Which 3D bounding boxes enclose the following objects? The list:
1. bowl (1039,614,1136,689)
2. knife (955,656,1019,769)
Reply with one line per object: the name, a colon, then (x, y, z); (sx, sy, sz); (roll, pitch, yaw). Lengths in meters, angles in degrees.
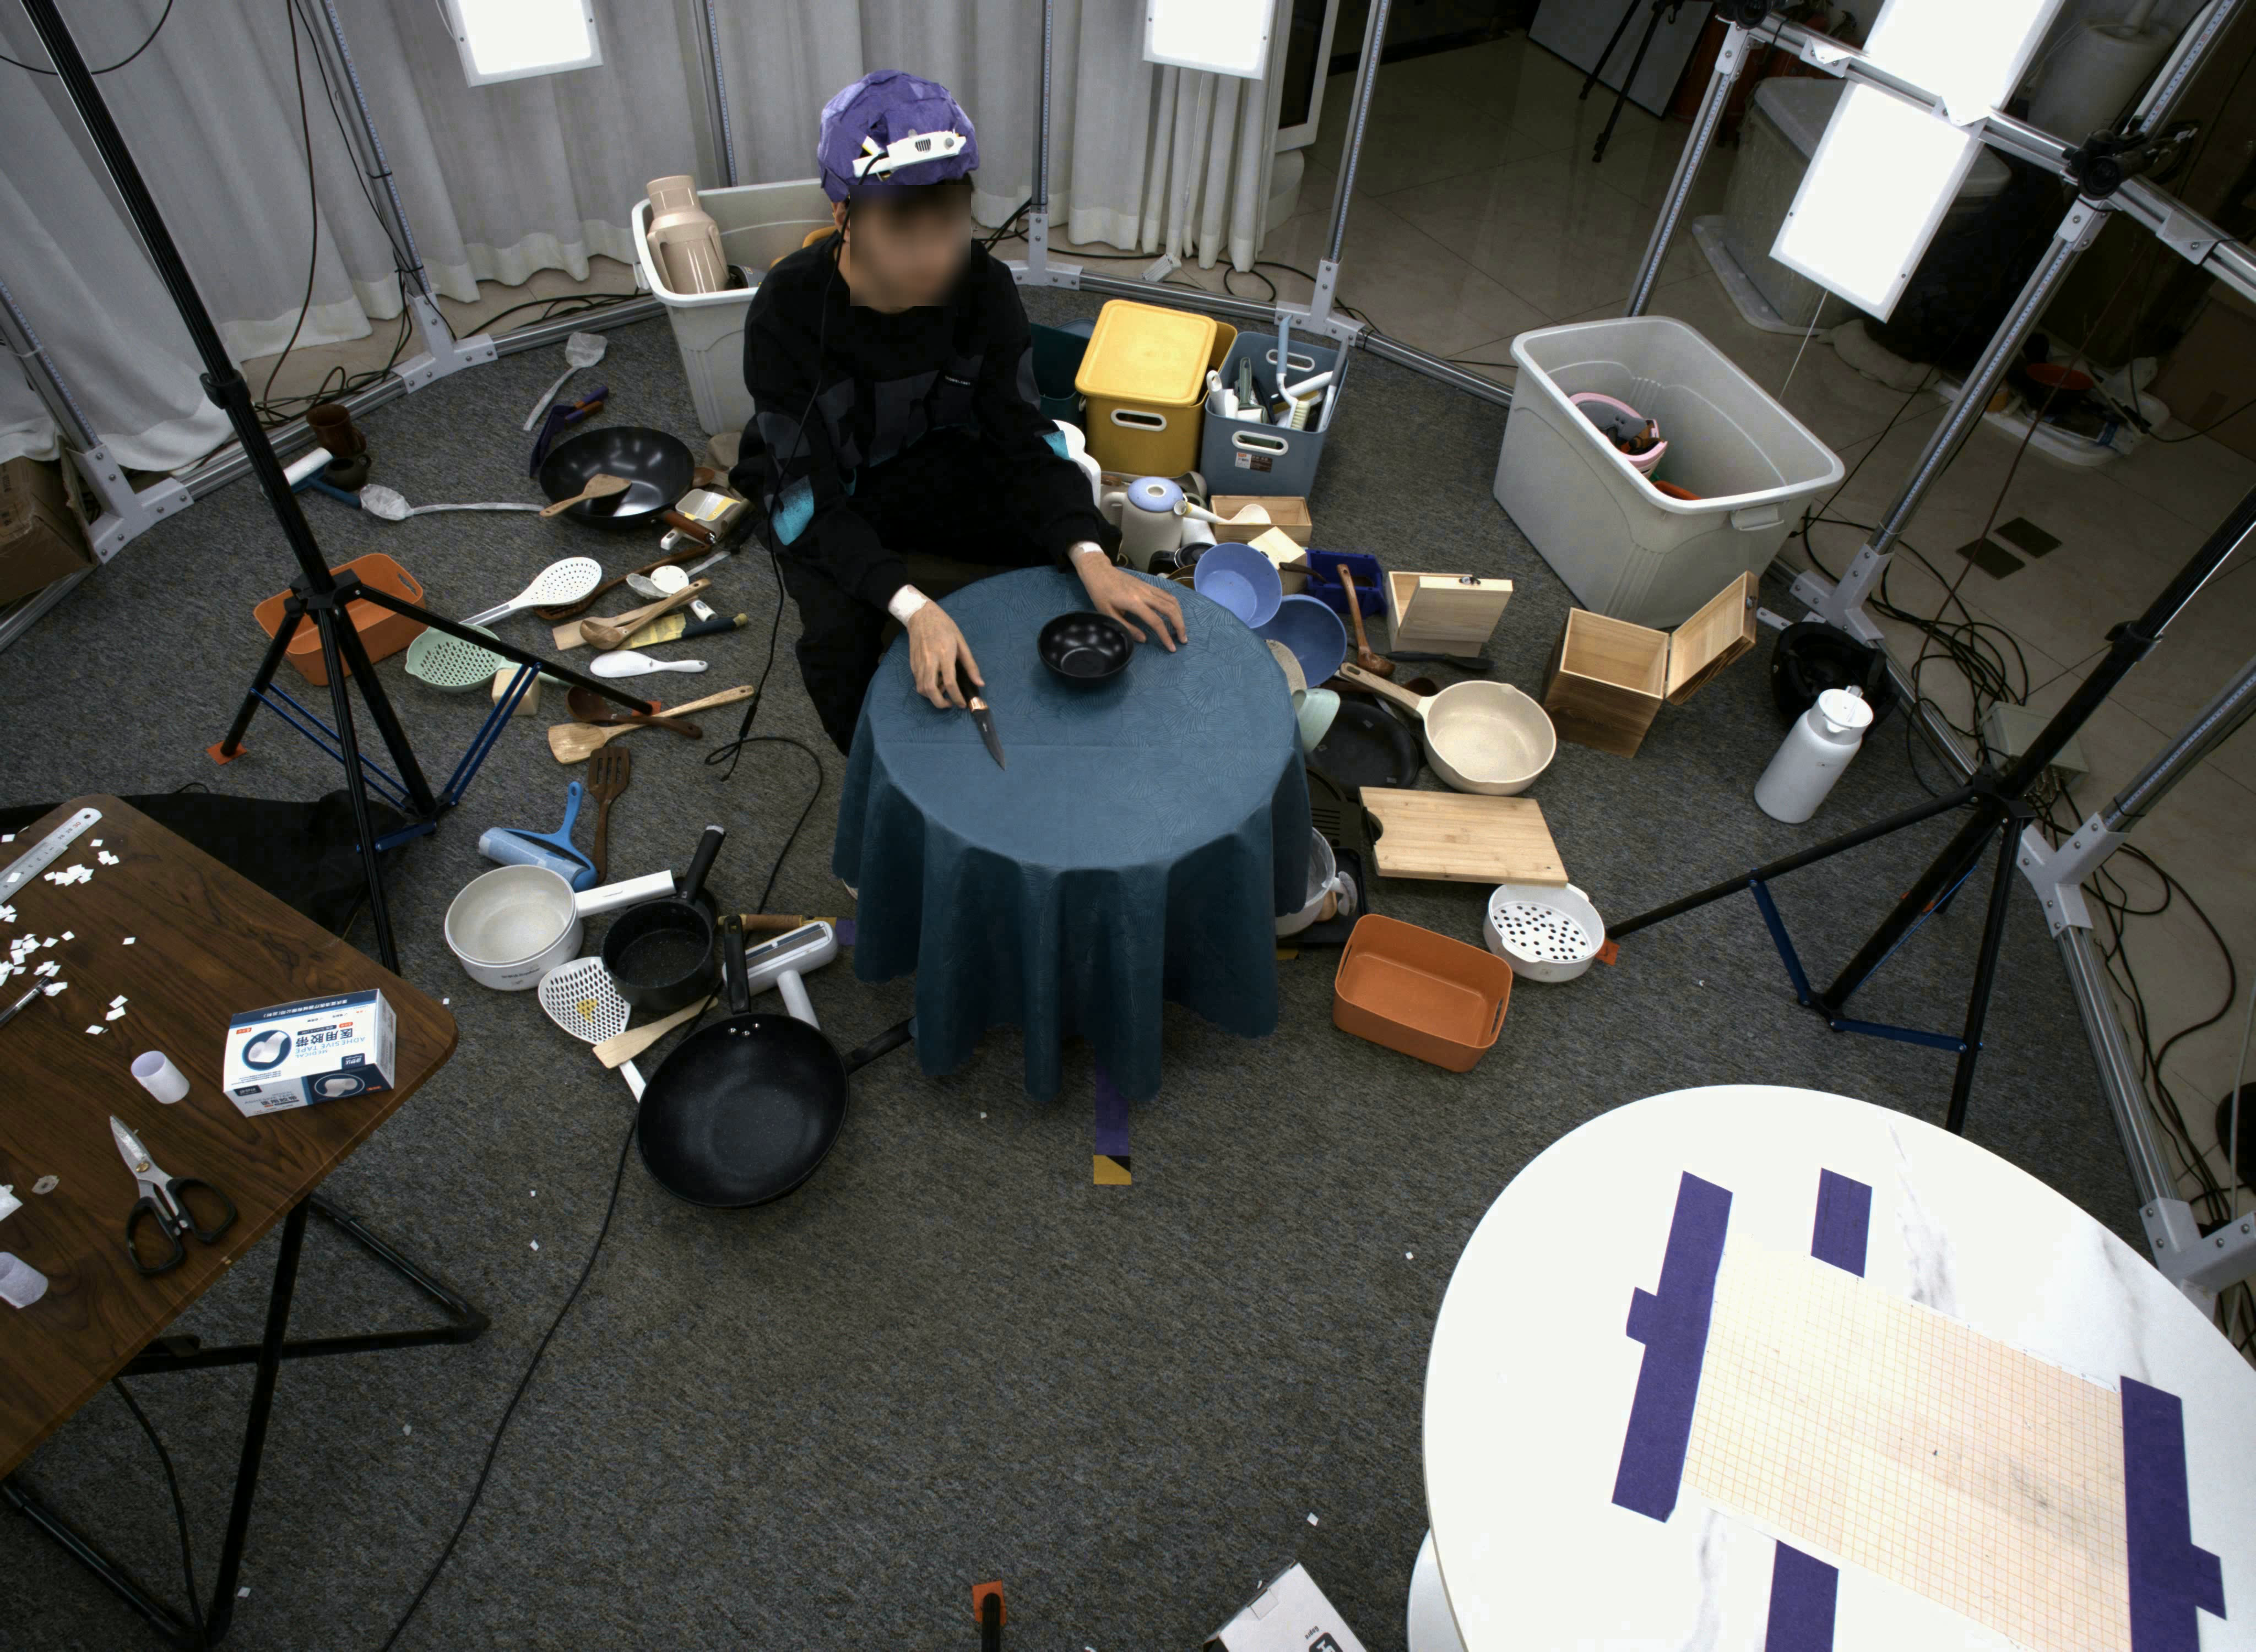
bowl: (-0.057, -0.243, 1.848); (0.140, 0.048, 0.143); (0, 47, 0)
knife: (-0.198, -0.160, 1.786); (0.026, 0.017, 0.231); (-14, 53, -18)
